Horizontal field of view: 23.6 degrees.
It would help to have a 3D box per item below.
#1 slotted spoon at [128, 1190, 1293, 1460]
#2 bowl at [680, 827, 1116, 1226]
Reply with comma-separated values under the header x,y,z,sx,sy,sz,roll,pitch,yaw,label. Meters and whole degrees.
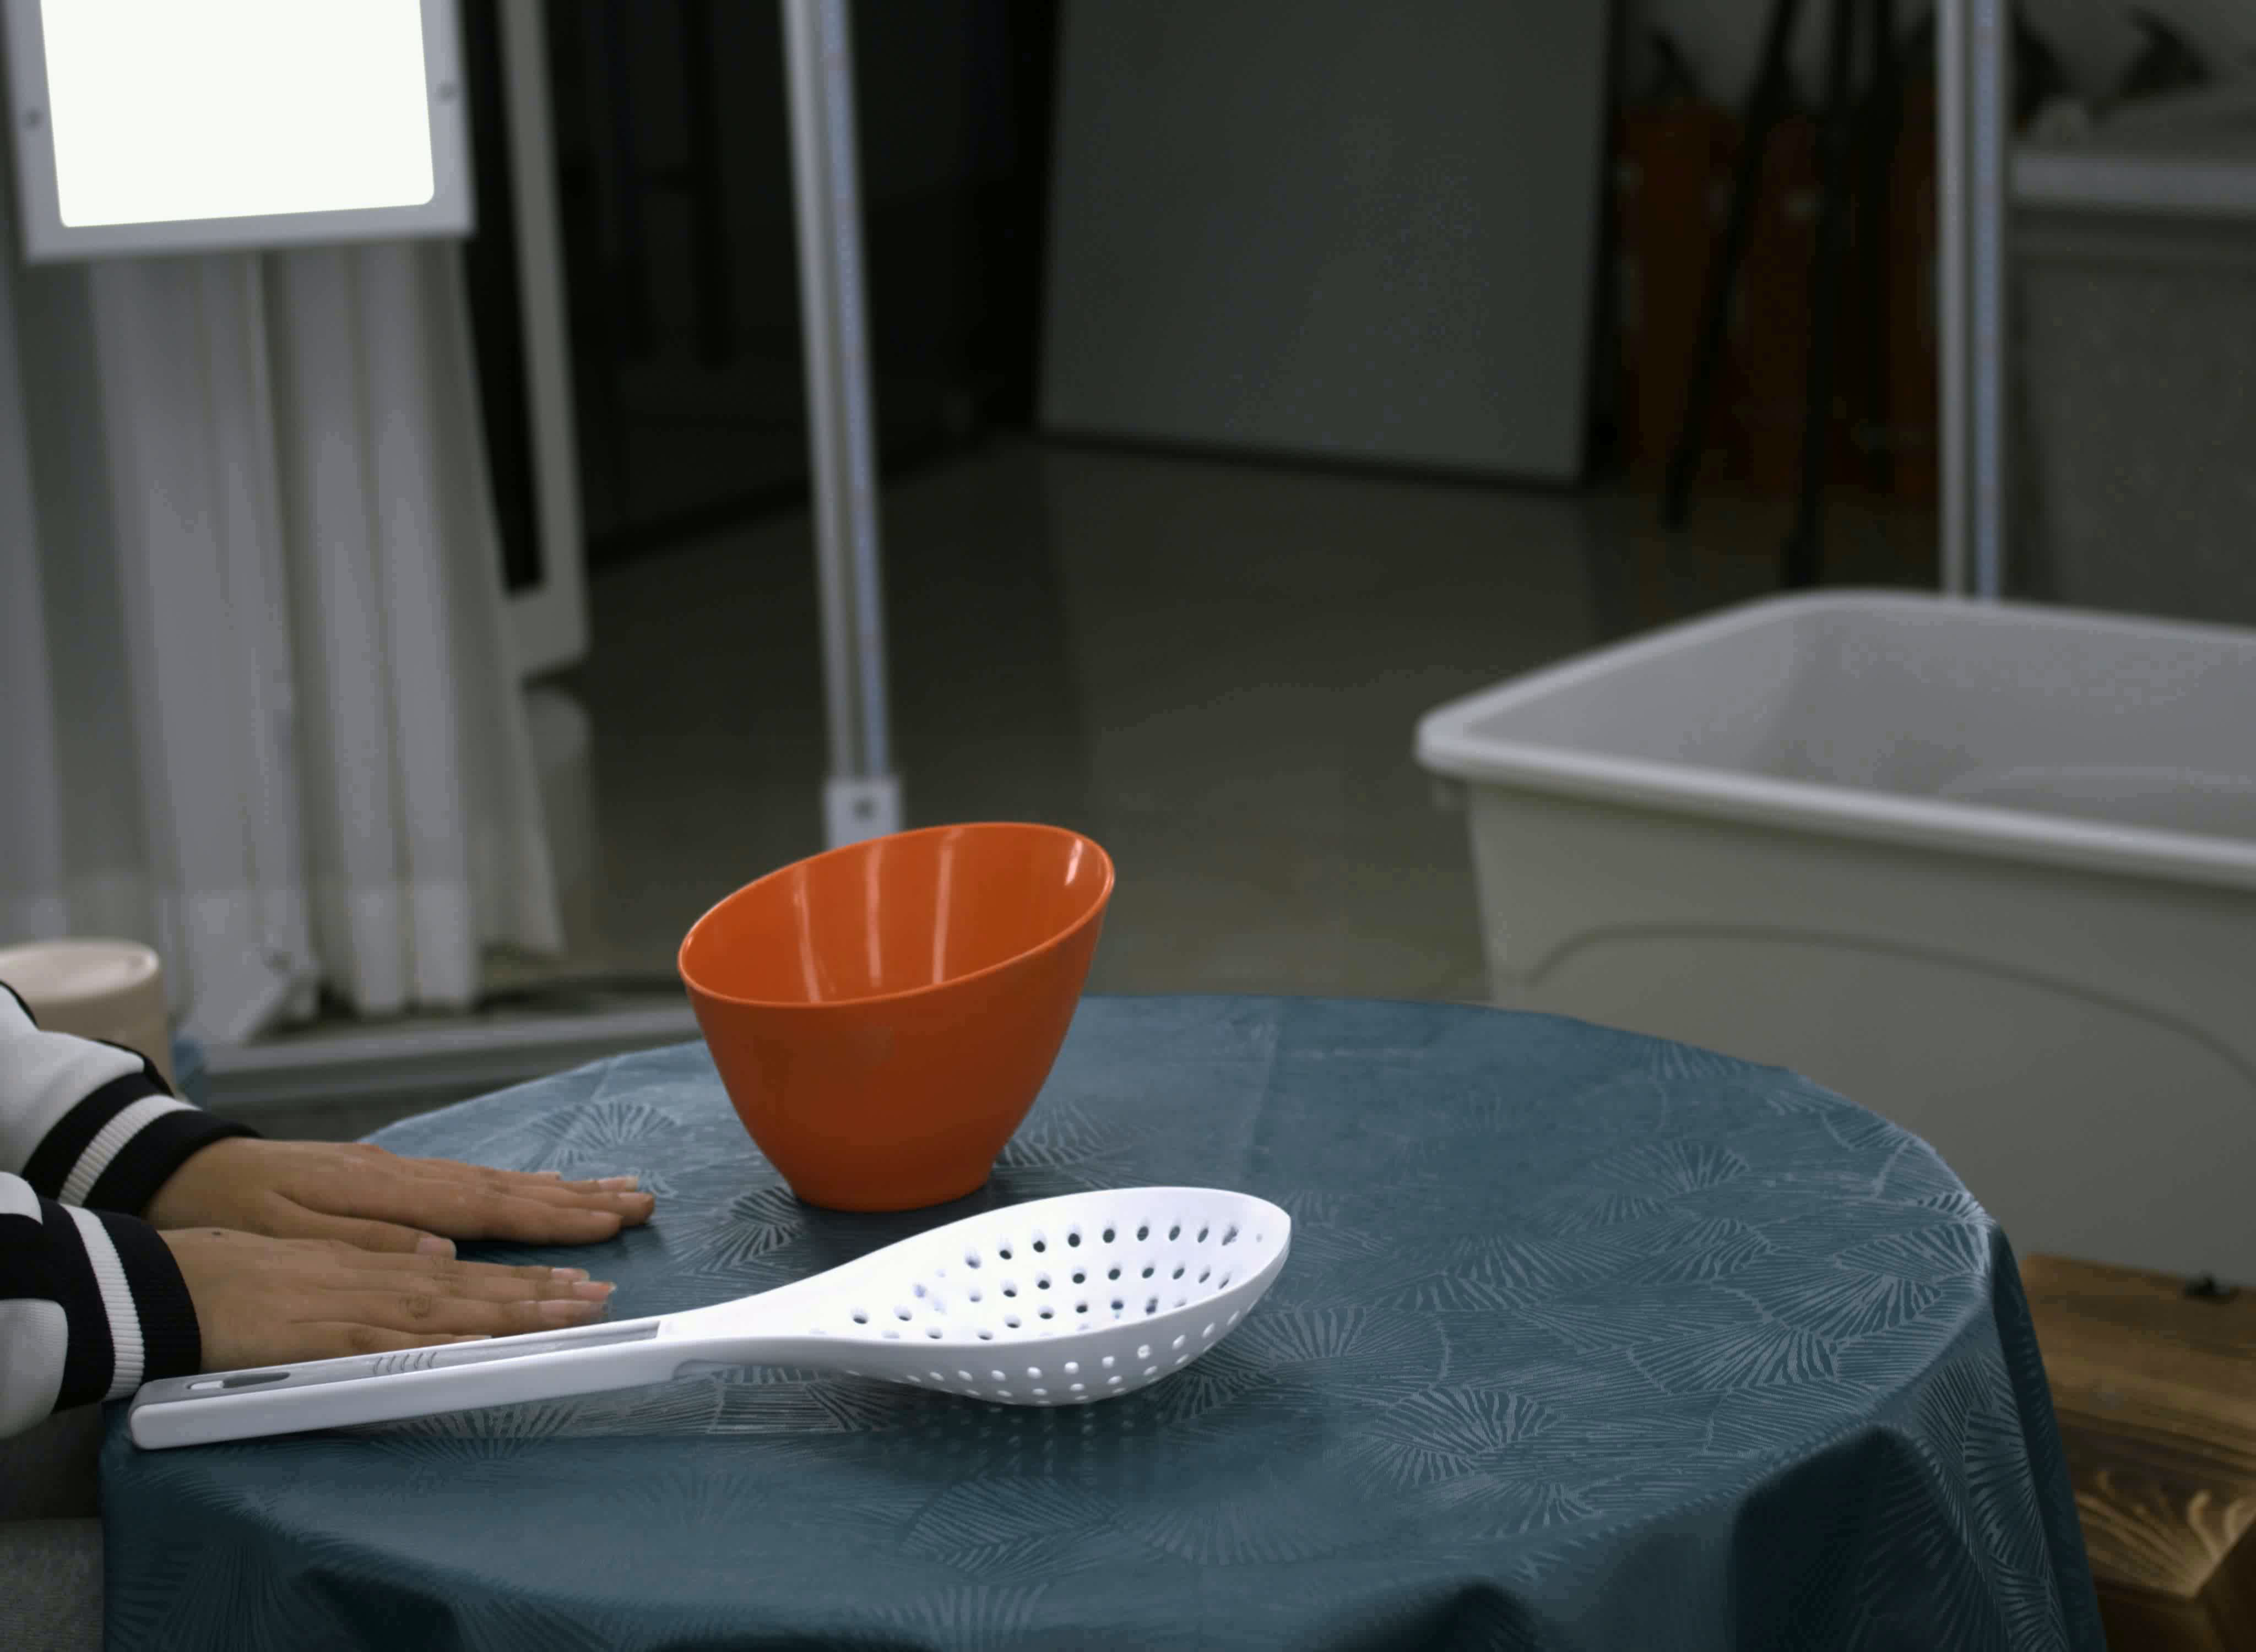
x,y,z,sx,sy,sz,roll,pitch,yaw,label
-0.122,0.152,1.588,0.346,0.046,0.136,-4,12,3,slotted spoon
-0.073,0.070,1.791,0.146,0.106,0.148,-4,15,0,bowl
